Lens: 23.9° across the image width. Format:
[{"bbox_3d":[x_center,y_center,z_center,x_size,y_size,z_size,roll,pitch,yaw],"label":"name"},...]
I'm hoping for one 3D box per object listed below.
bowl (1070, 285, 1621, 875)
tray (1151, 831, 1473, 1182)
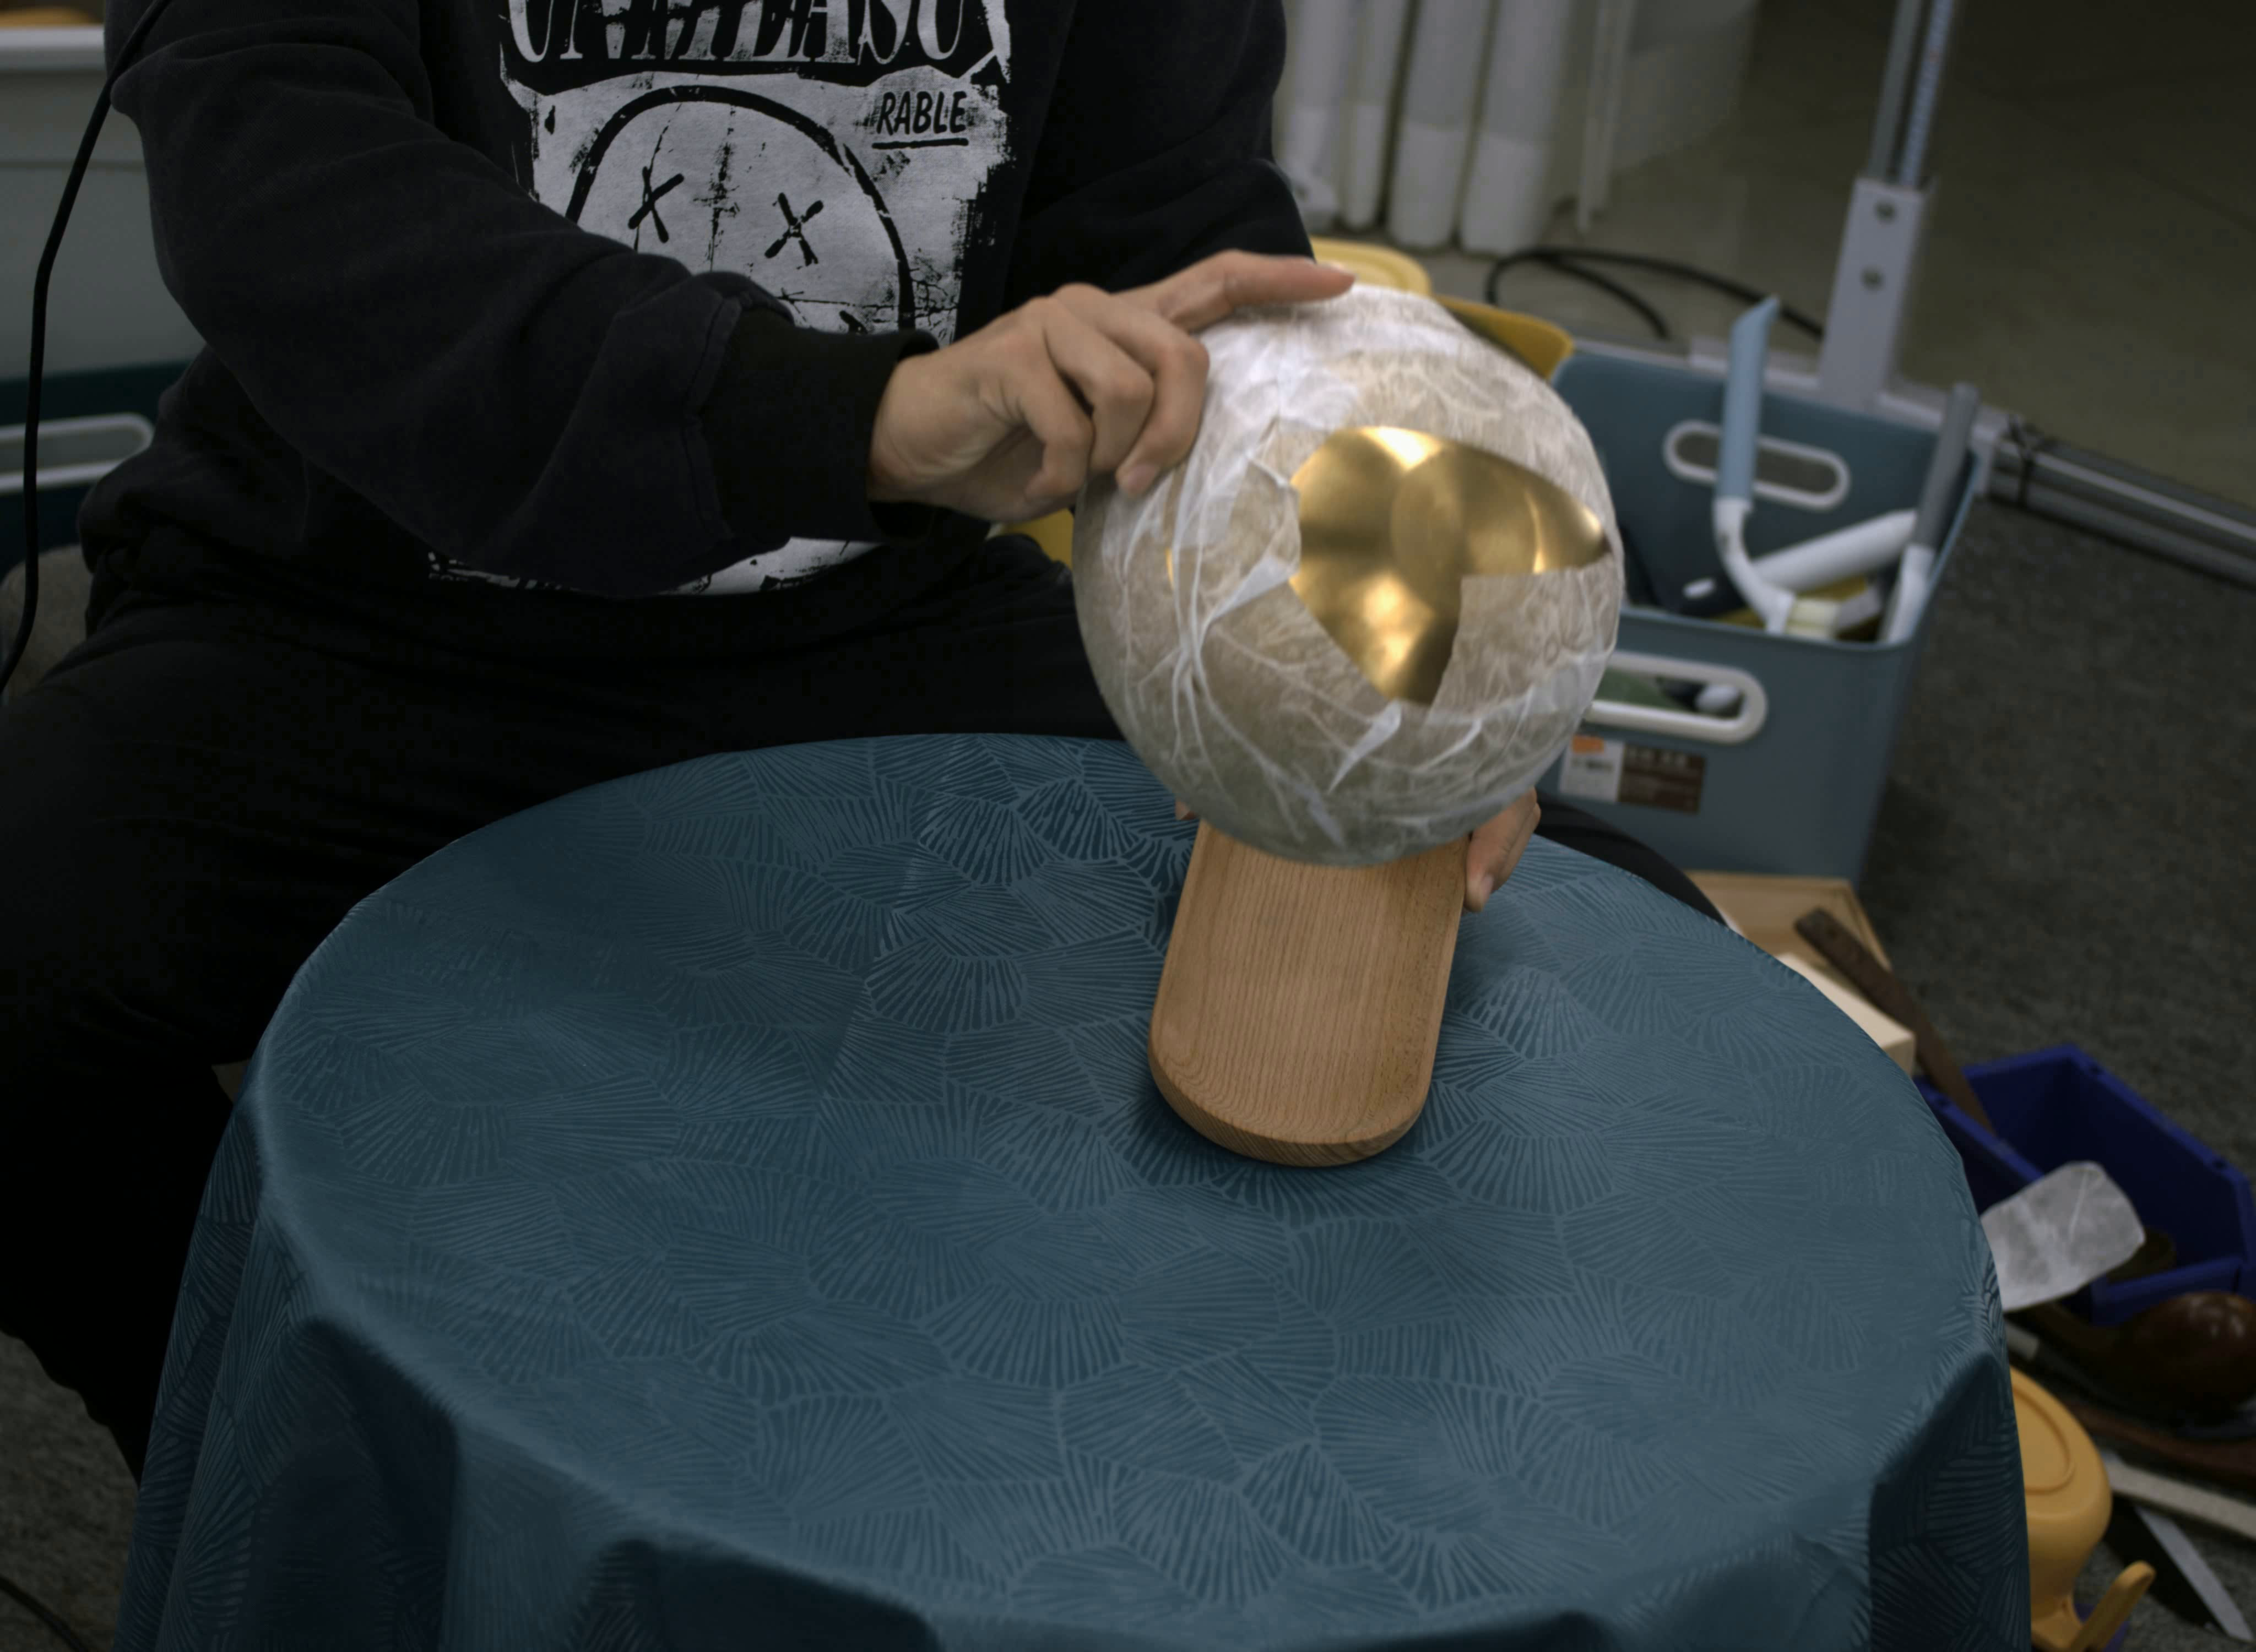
[{"bbox_3d":[0.087,-0.084,1.786,0.213,0.215,0.095,-8,-3,-28],"label":"bowl"},{"bbox_3d":[0.067,0.049,1.908,0.101,0.020,0.232,10,39,3],"label":"tray"}]
